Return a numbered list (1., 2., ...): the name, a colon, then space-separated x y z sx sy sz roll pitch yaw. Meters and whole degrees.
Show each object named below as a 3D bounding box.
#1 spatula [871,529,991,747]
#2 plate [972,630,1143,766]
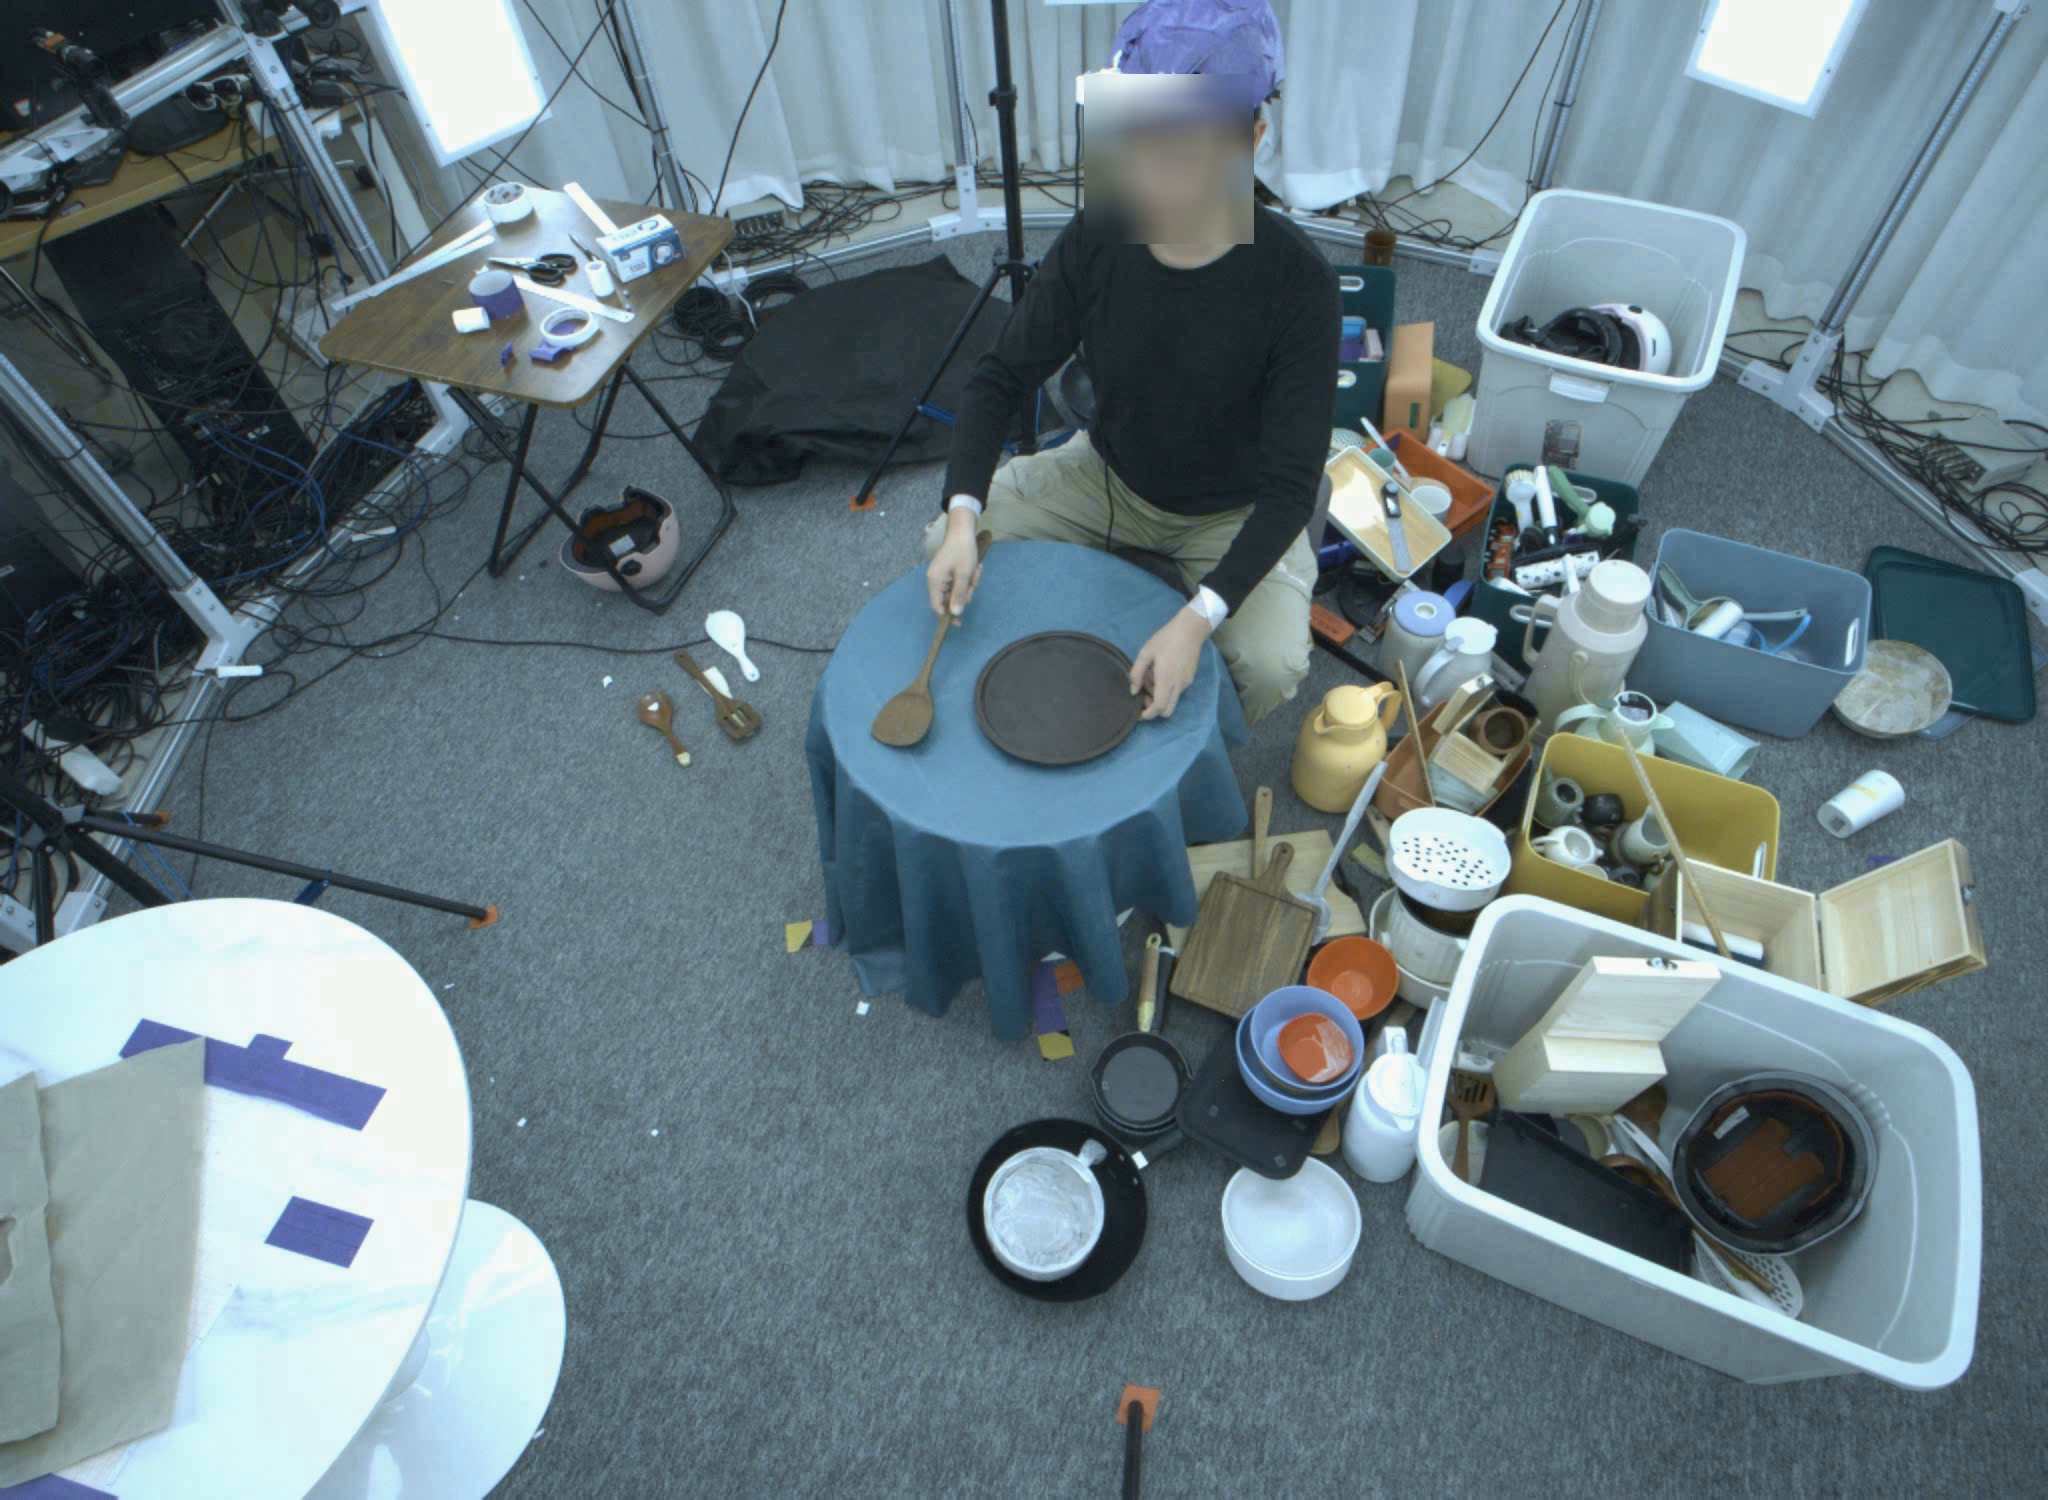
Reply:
1. spatula: -0.126 -0.177 1.851 0.094 0.016 0.385 11 69 28
2. plate: 0.050 -0.078 1.827 0.254 0.029 0.252 -1 54 3
